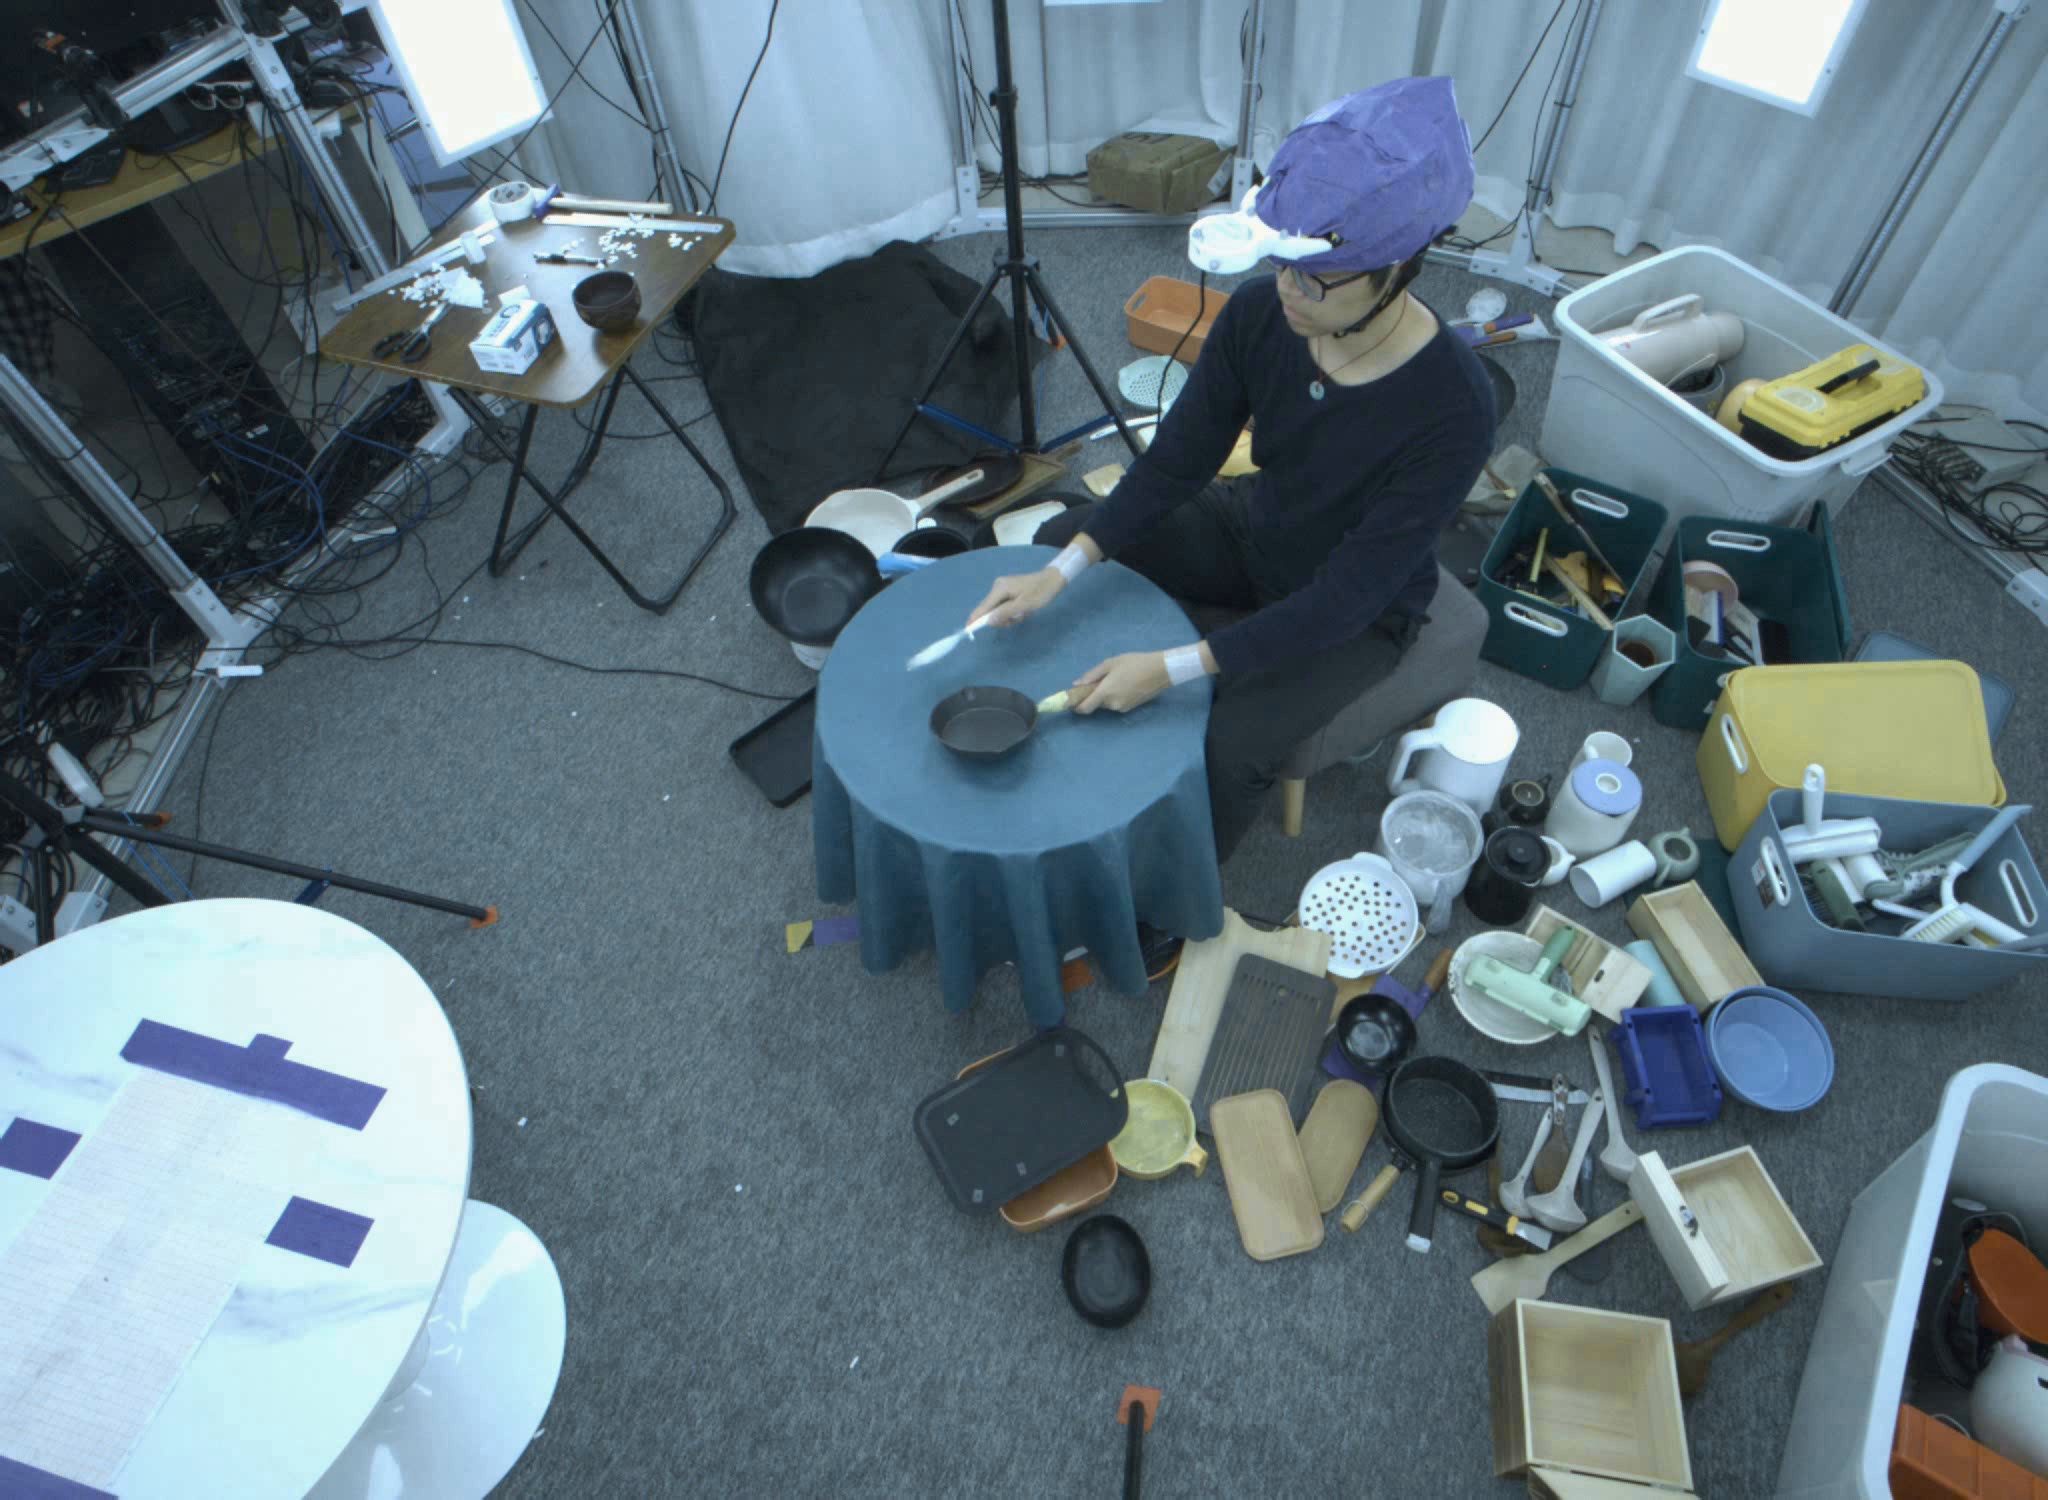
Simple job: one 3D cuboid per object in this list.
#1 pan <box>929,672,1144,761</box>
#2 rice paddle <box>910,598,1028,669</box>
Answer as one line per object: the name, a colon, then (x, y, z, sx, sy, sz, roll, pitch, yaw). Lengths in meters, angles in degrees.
pan: (0.022, -0.060, 1.789, 0.327, 0.050, 0.165, -13, 40, -12)
rice paddle: (-0.086, -0.171, 1.823, 0.207, 0.068, 0.029, -30, 89, -24)
